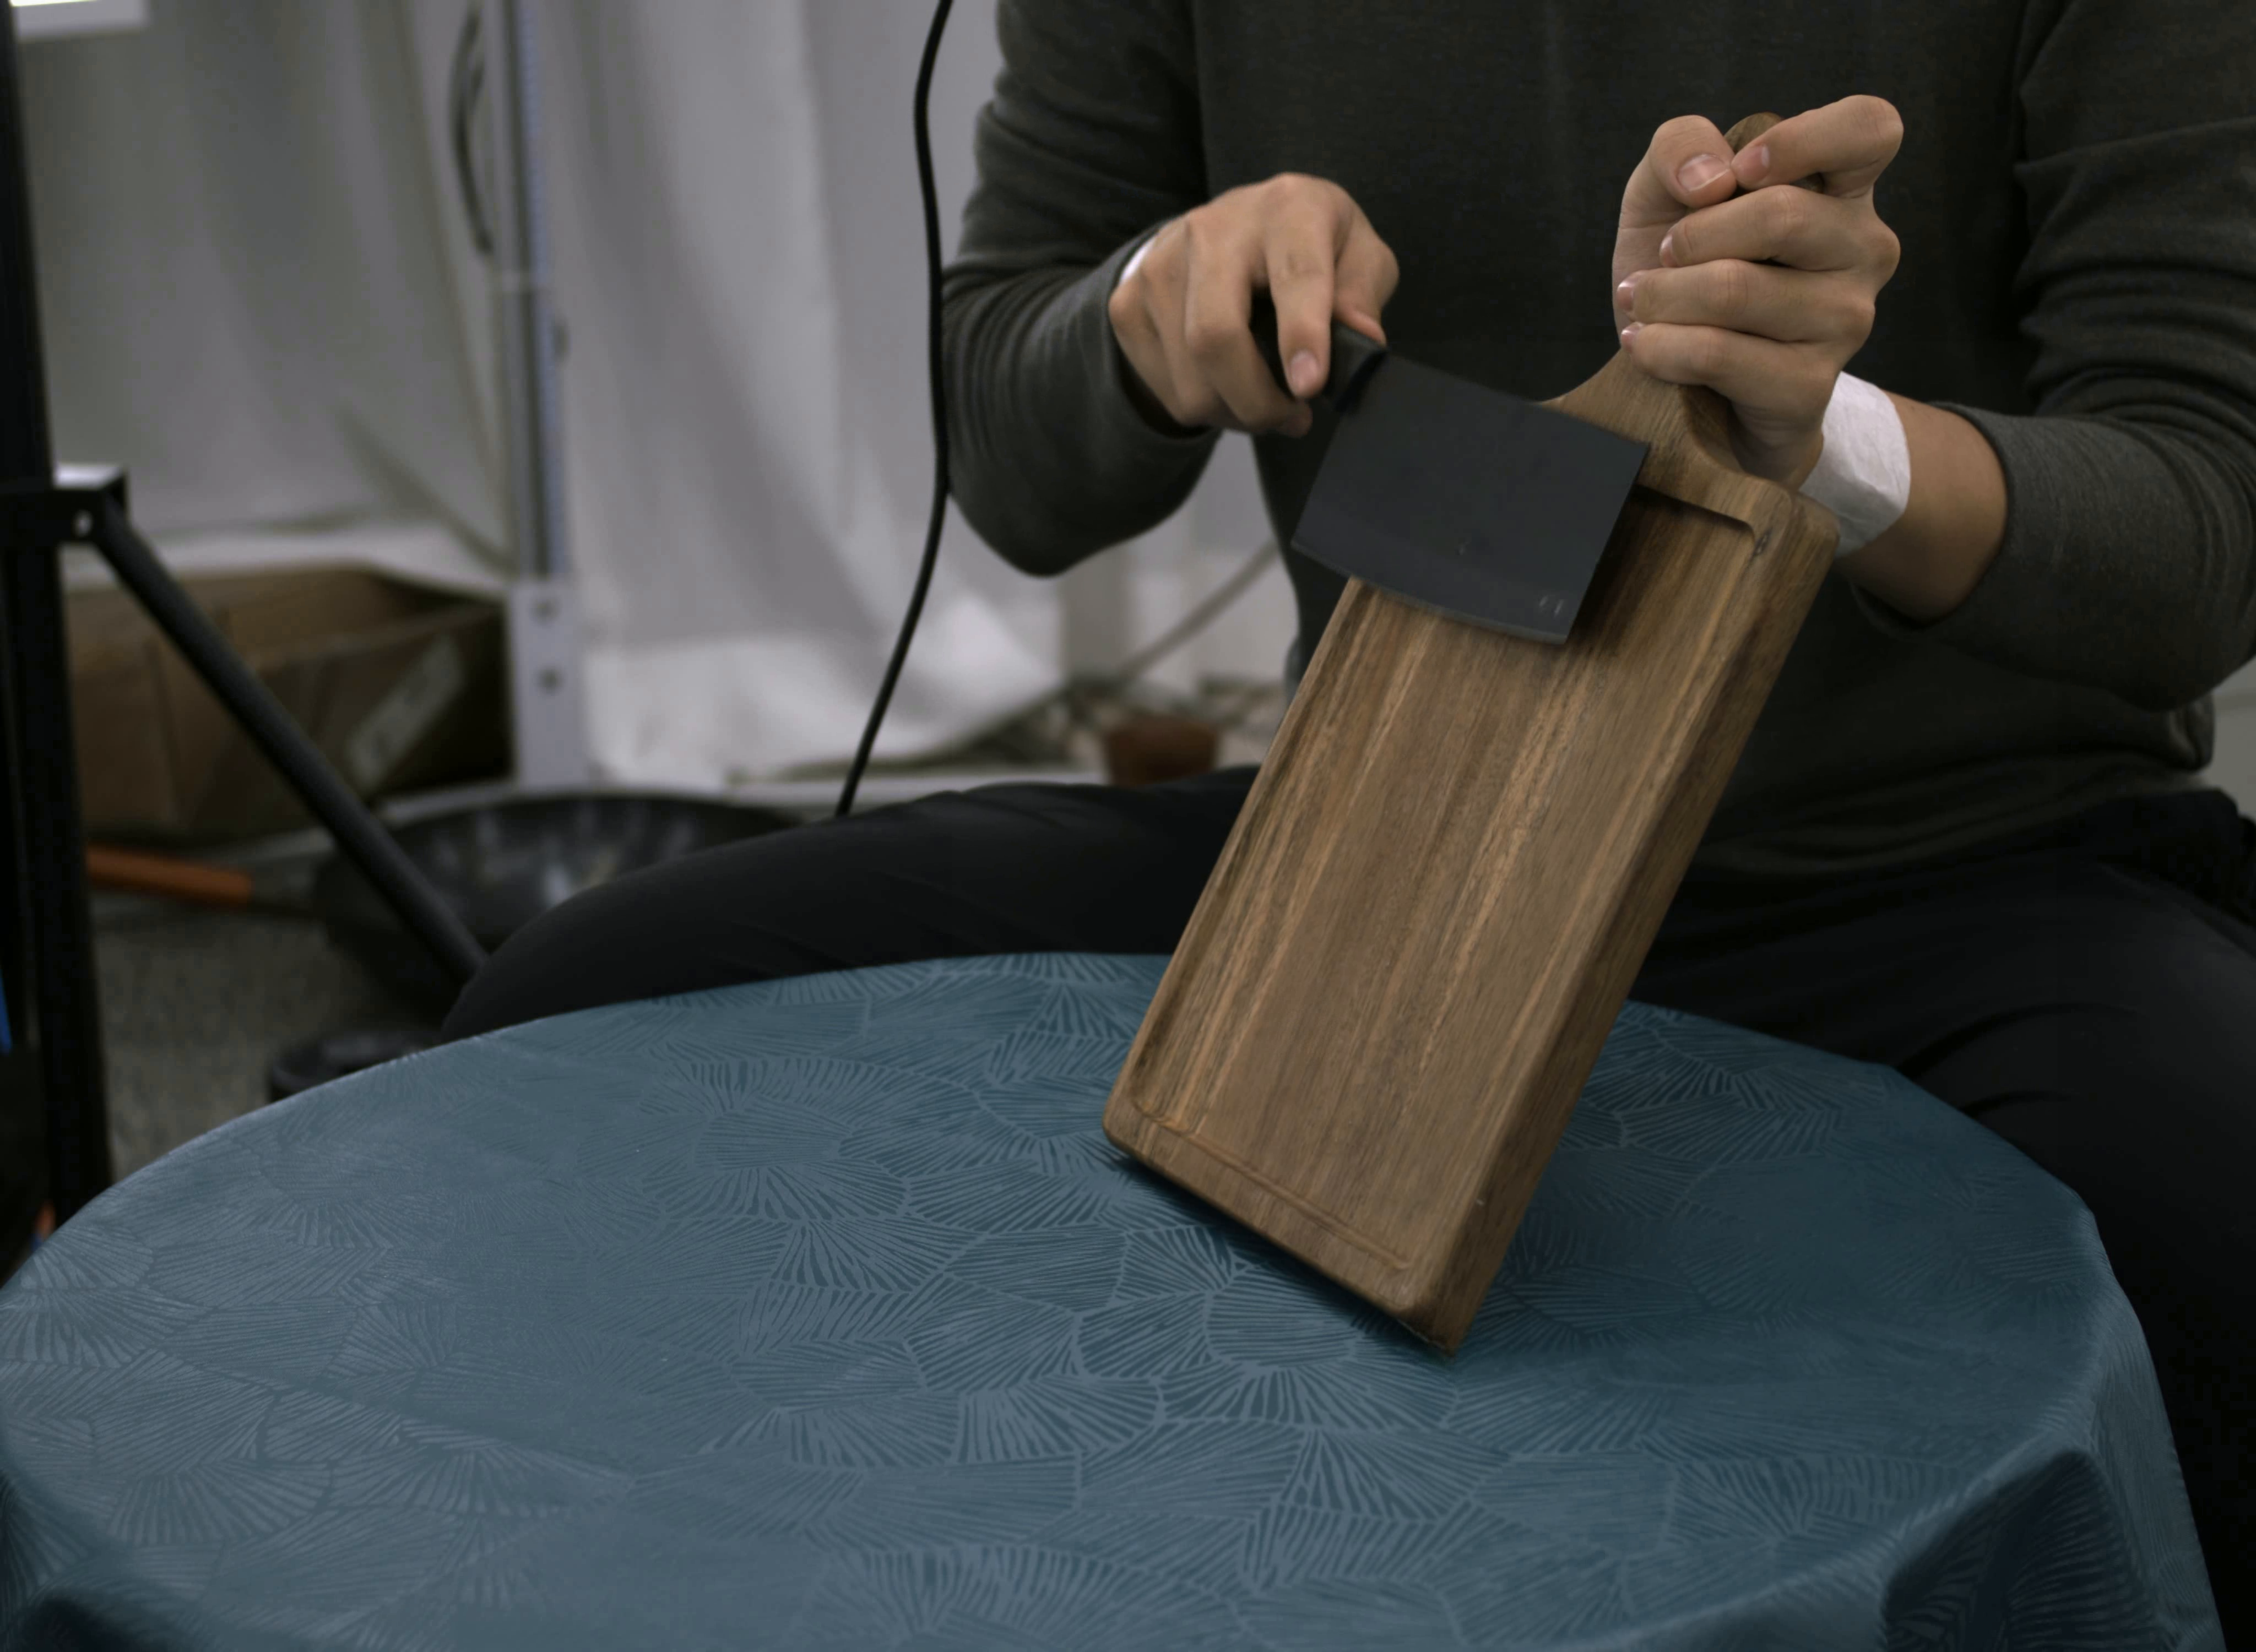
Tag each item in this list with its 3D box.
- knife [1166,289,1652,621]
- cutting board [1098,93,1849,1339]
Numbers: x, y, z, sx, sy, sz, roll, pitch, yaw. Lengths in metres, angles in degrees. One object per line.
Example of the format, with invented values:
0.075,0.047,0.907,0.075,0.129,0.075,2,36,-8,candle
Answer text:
0.076,-0.116,1.598,0.020,0.081,0.308,22,7,-26,knife
0.113,-0.042,1.505,0.022,0.353,0.205,25,1,-31,cutting board
